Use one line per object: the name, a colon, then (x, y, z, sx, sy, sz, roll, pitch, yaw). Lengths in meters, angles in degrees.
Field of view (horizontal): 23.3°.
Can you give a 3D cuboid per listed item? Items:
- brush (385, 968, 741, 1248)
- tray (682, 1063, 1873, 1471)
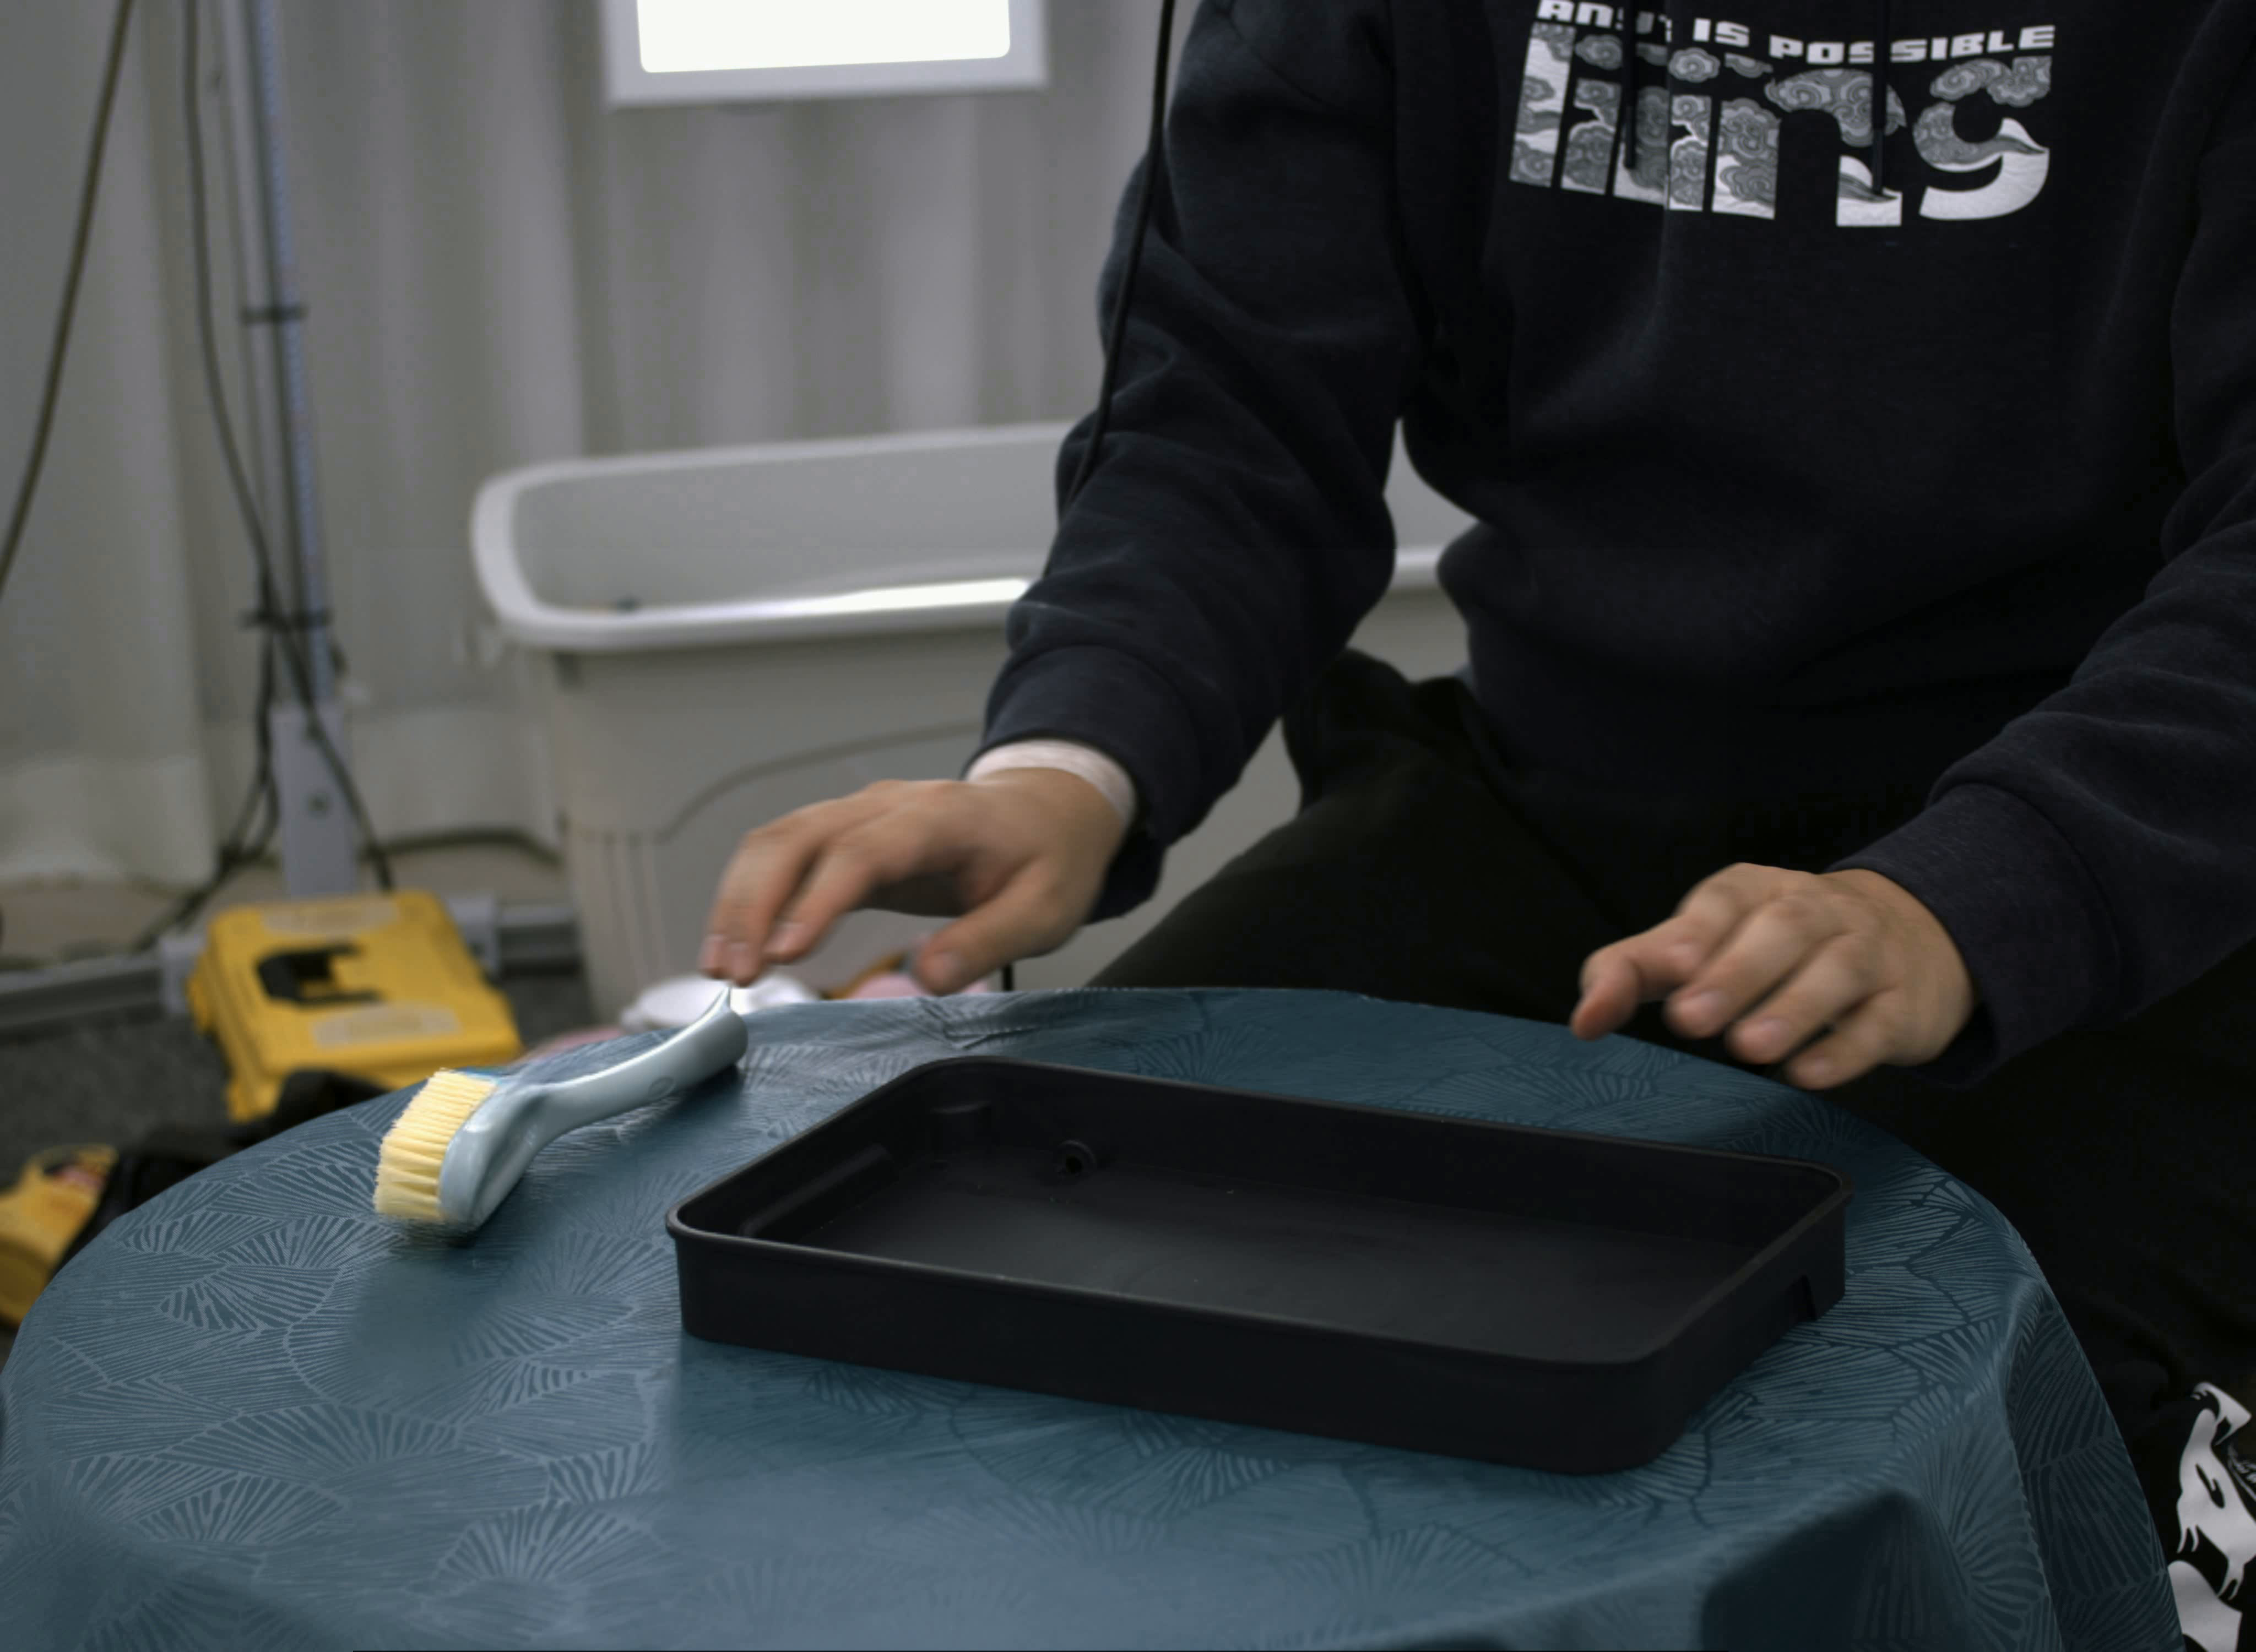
brush: (-0.183, 0.085, 1.786, 0.050, 0.037, 0.229, 9, 18, 18)
tray: (0.044, 0.125, 1.602, 0.318, 0.037, 0.184, 5, 16, 27)
